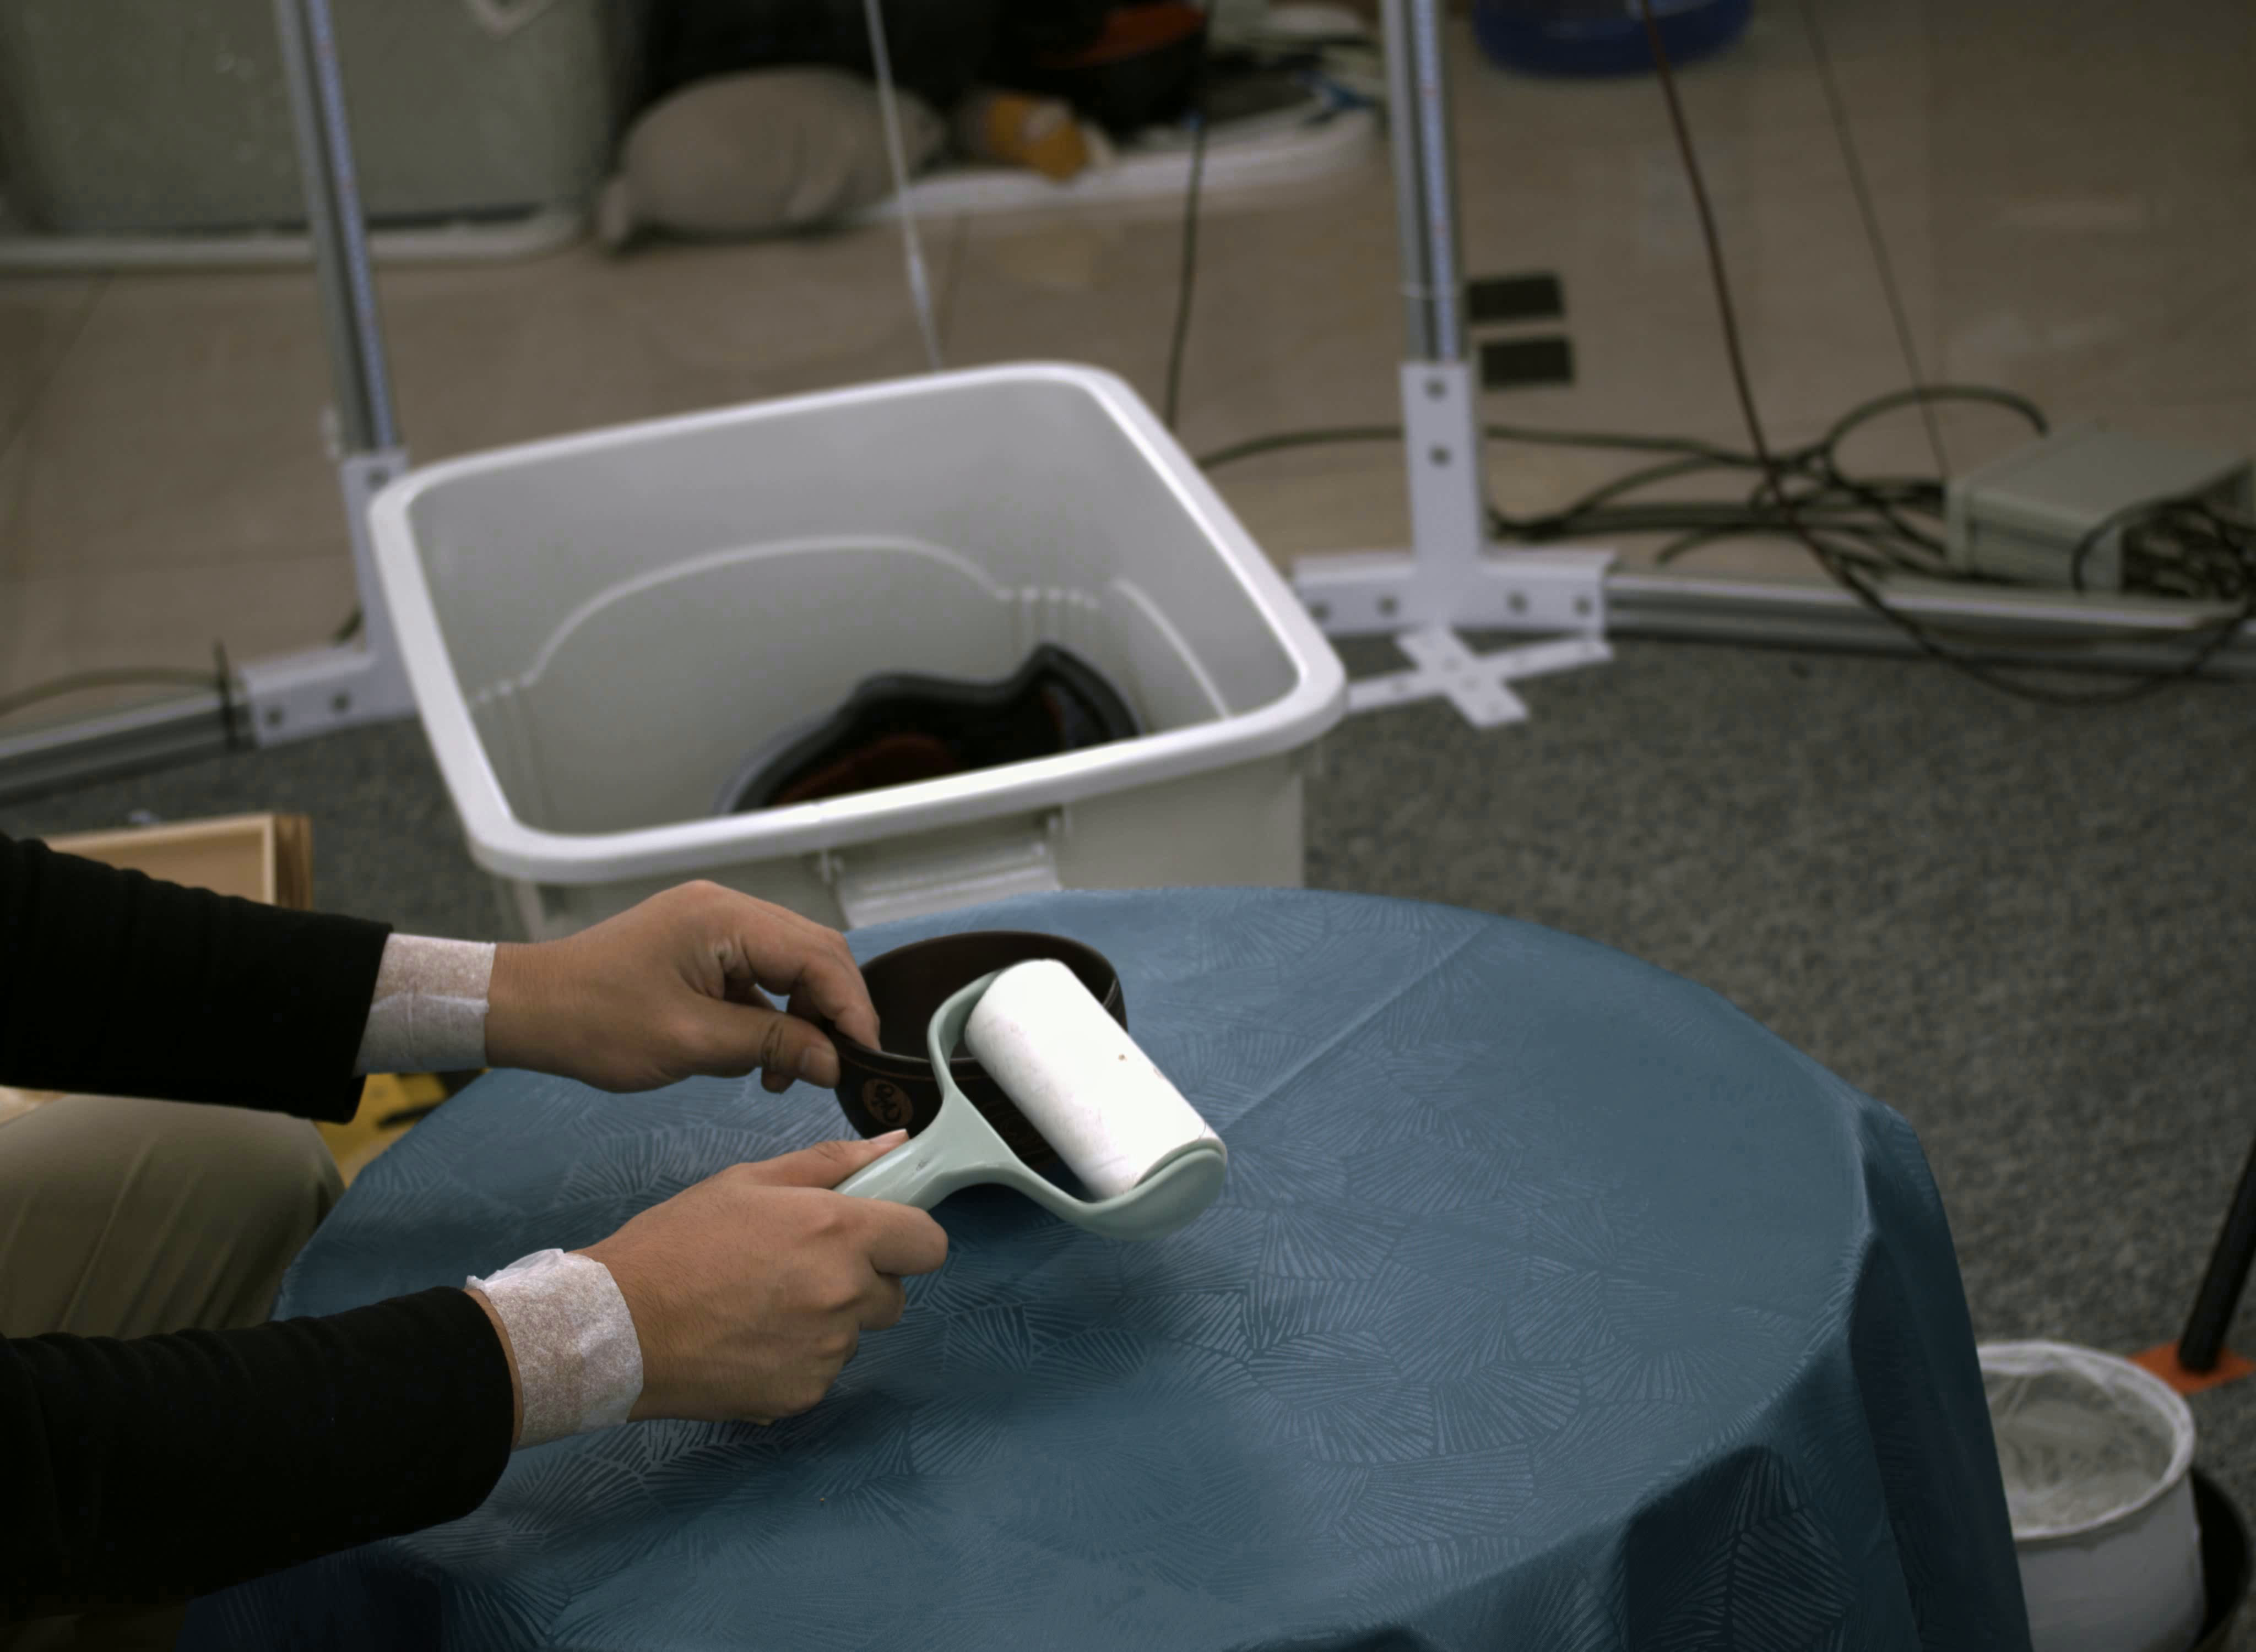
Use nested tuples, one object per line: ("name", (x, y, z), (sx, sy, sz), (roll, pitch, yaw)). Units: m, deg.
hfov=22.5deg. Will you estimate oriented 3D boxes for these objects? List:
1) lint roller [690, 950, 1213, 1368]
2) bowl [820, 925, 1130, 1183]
("lint roller", (-0.077, 0.128, 2.038), (0.196, 0.049, 0.115), (-30, 59, -21))
("bowl", (-0.057, 0.094, 2.173), (0.118, 0.071, 0.116), (-6, 26, 3))
